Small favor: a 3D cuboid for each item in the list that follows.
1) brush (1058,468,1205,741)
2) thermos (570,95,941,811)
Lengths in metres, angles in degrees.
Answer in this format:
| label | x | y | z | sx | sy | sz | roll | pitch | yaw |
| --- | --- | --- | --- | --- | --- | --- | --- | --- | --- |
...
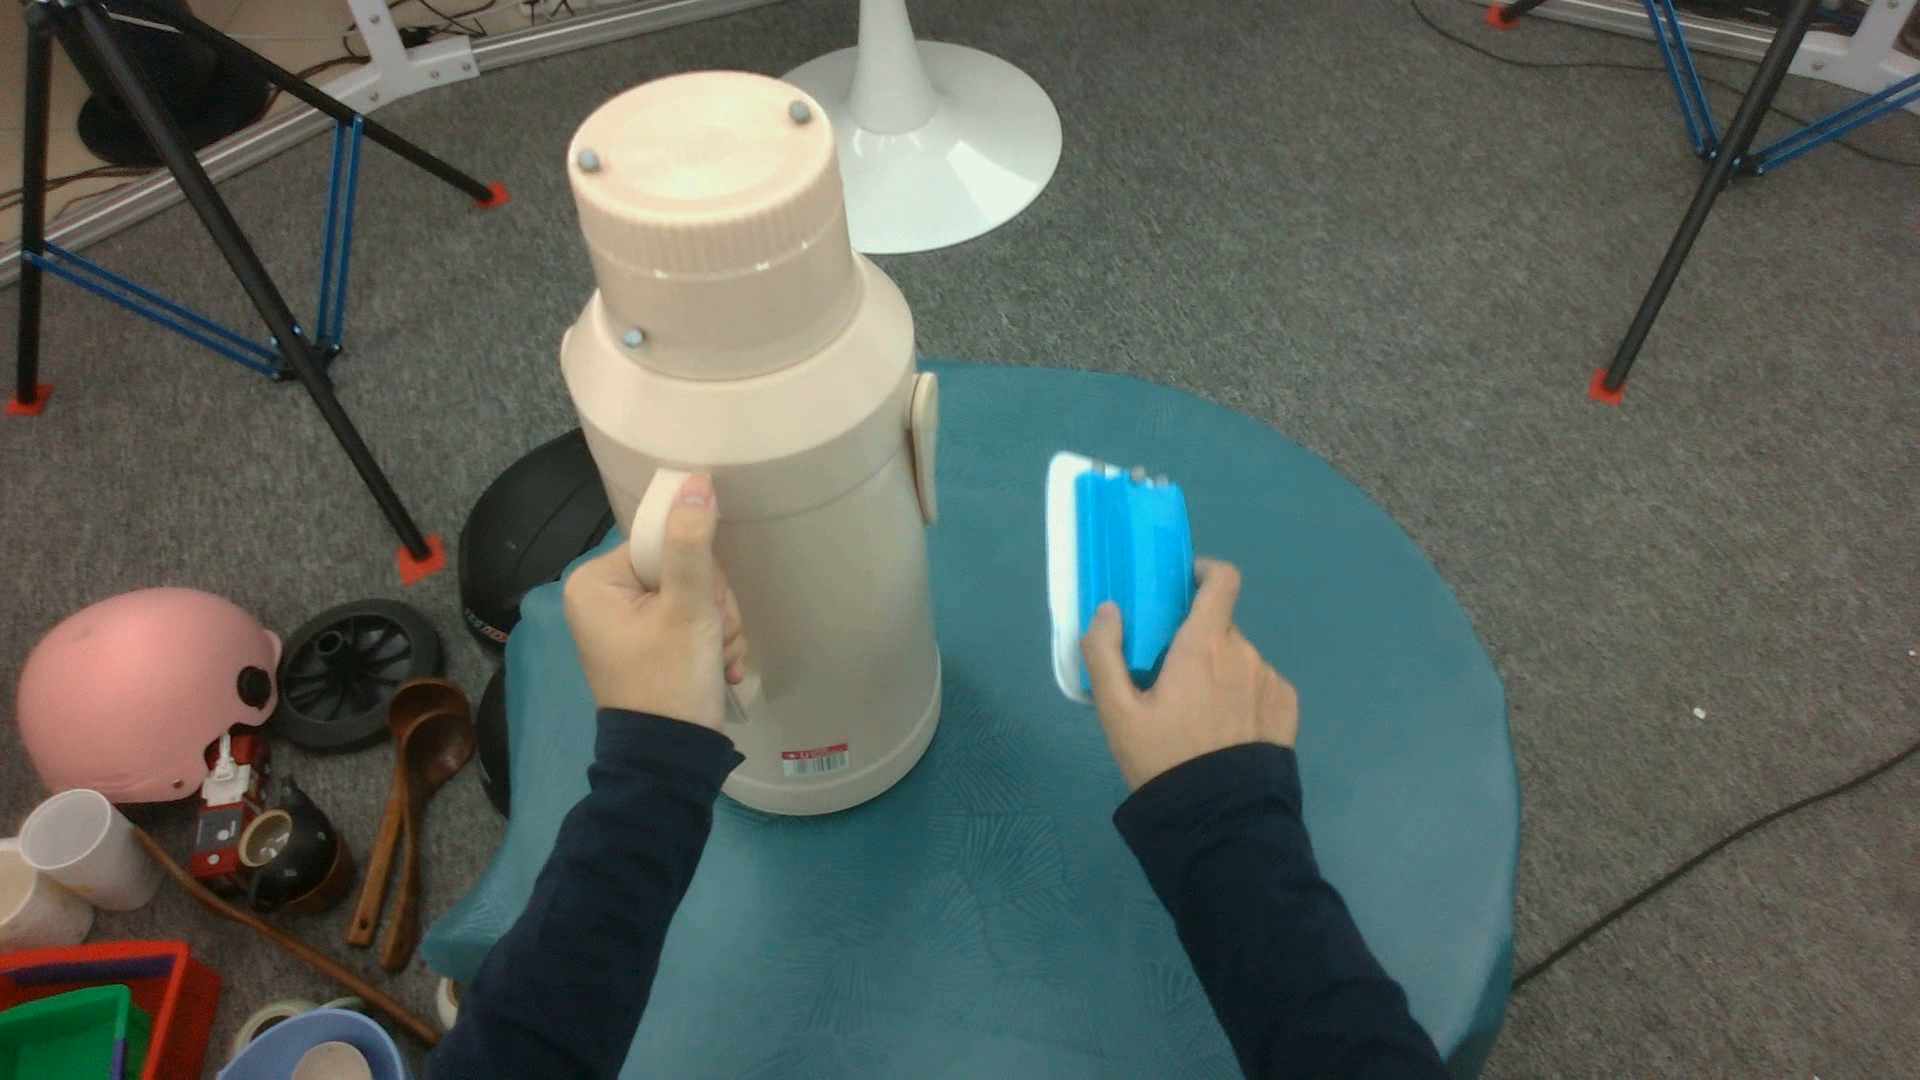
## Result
| label | x | y | z | sx | sy | sz | roll | pitch | yaw |
| --- | --- | --- | --- | --- | --- | --- | --- | --- | --- |
| brush | 0.095 | 0.027 | 0.706 | 0.084 | 0.055 | 0.144 | 16 | 61 | -31 |
| thermos | -0.101 | -0.014 | 0.703 | 0.175 | 0.404 | 0.208 | 9 | 51 | 8 |
